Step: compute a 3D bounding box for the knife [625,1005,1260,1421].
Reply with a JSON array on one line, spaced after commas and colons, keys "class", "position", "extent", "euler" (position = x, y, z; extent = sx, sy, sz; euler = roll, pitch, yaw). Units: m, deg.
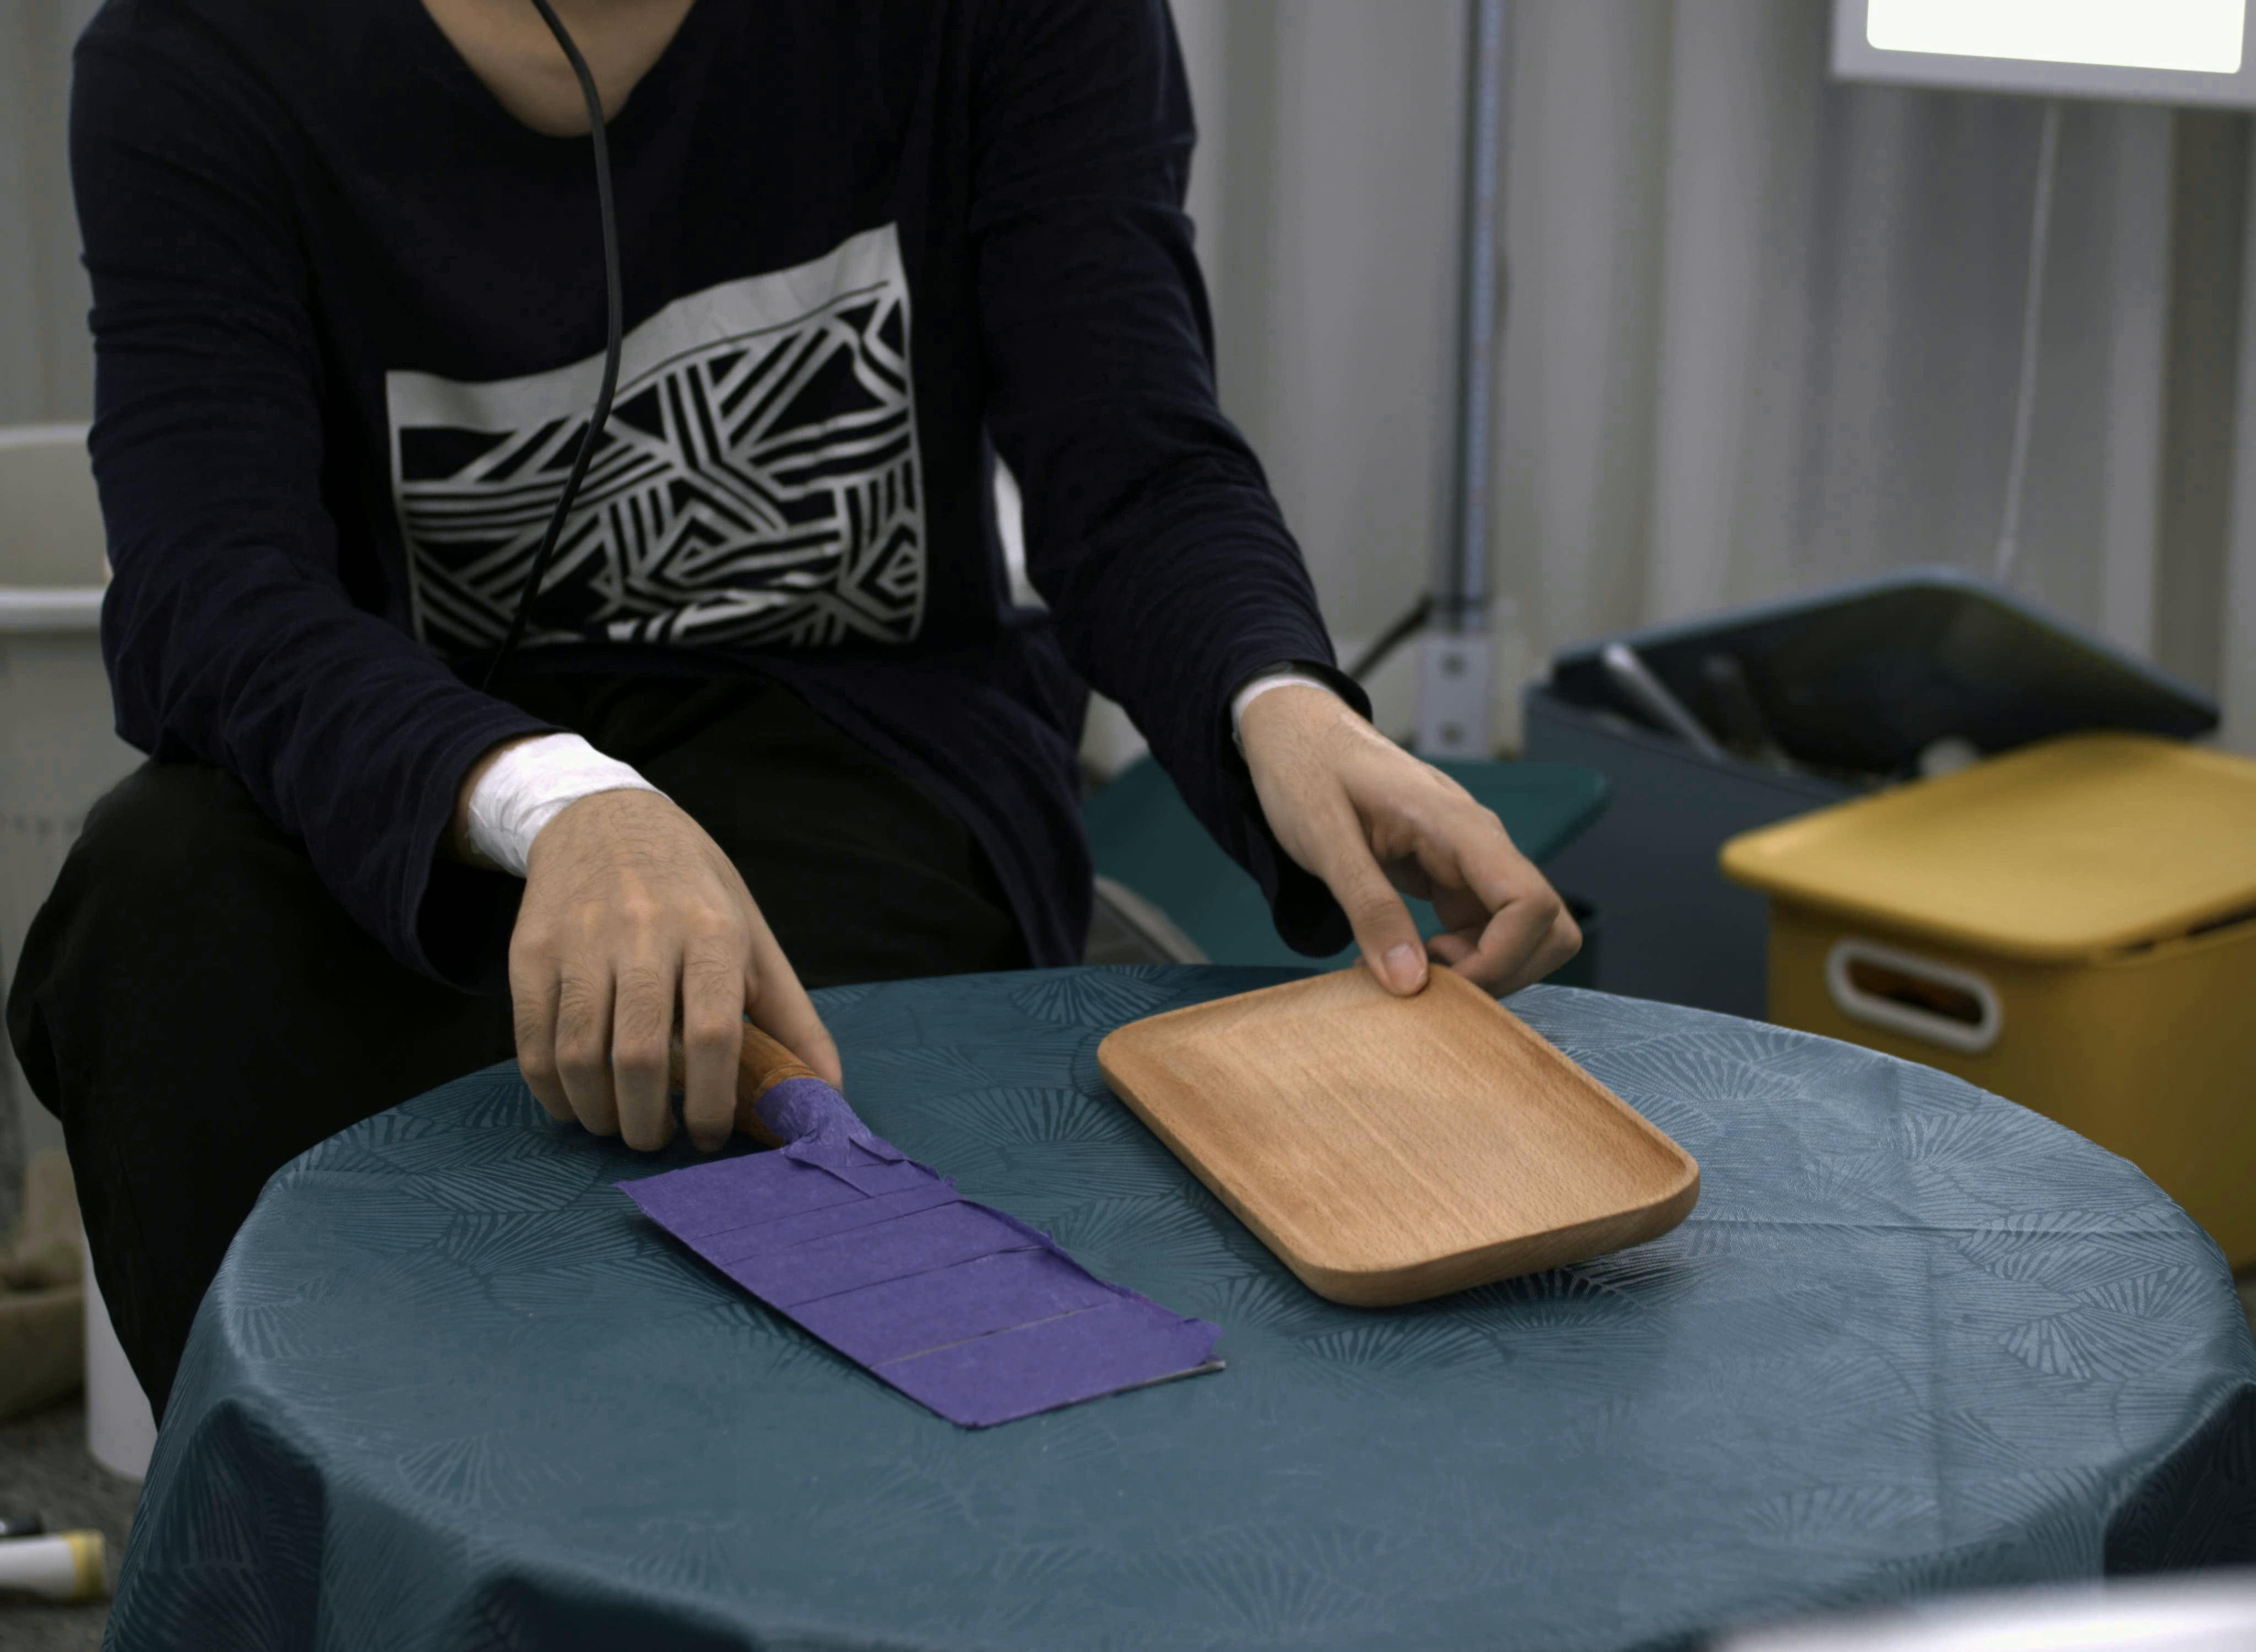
[{"class": "knife", "position": [-0.090, 0.112, 1.574], "extent": [0.104, 0.032, 0.311], "euler": [-9, 19, -33]}]

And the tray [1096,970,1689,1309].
[{"class": "tray", "position": [0.078, 0.094, 1.637], "extent": [0.130, 0.023, 0.248], "euler": [-13, 19, -12]}]
